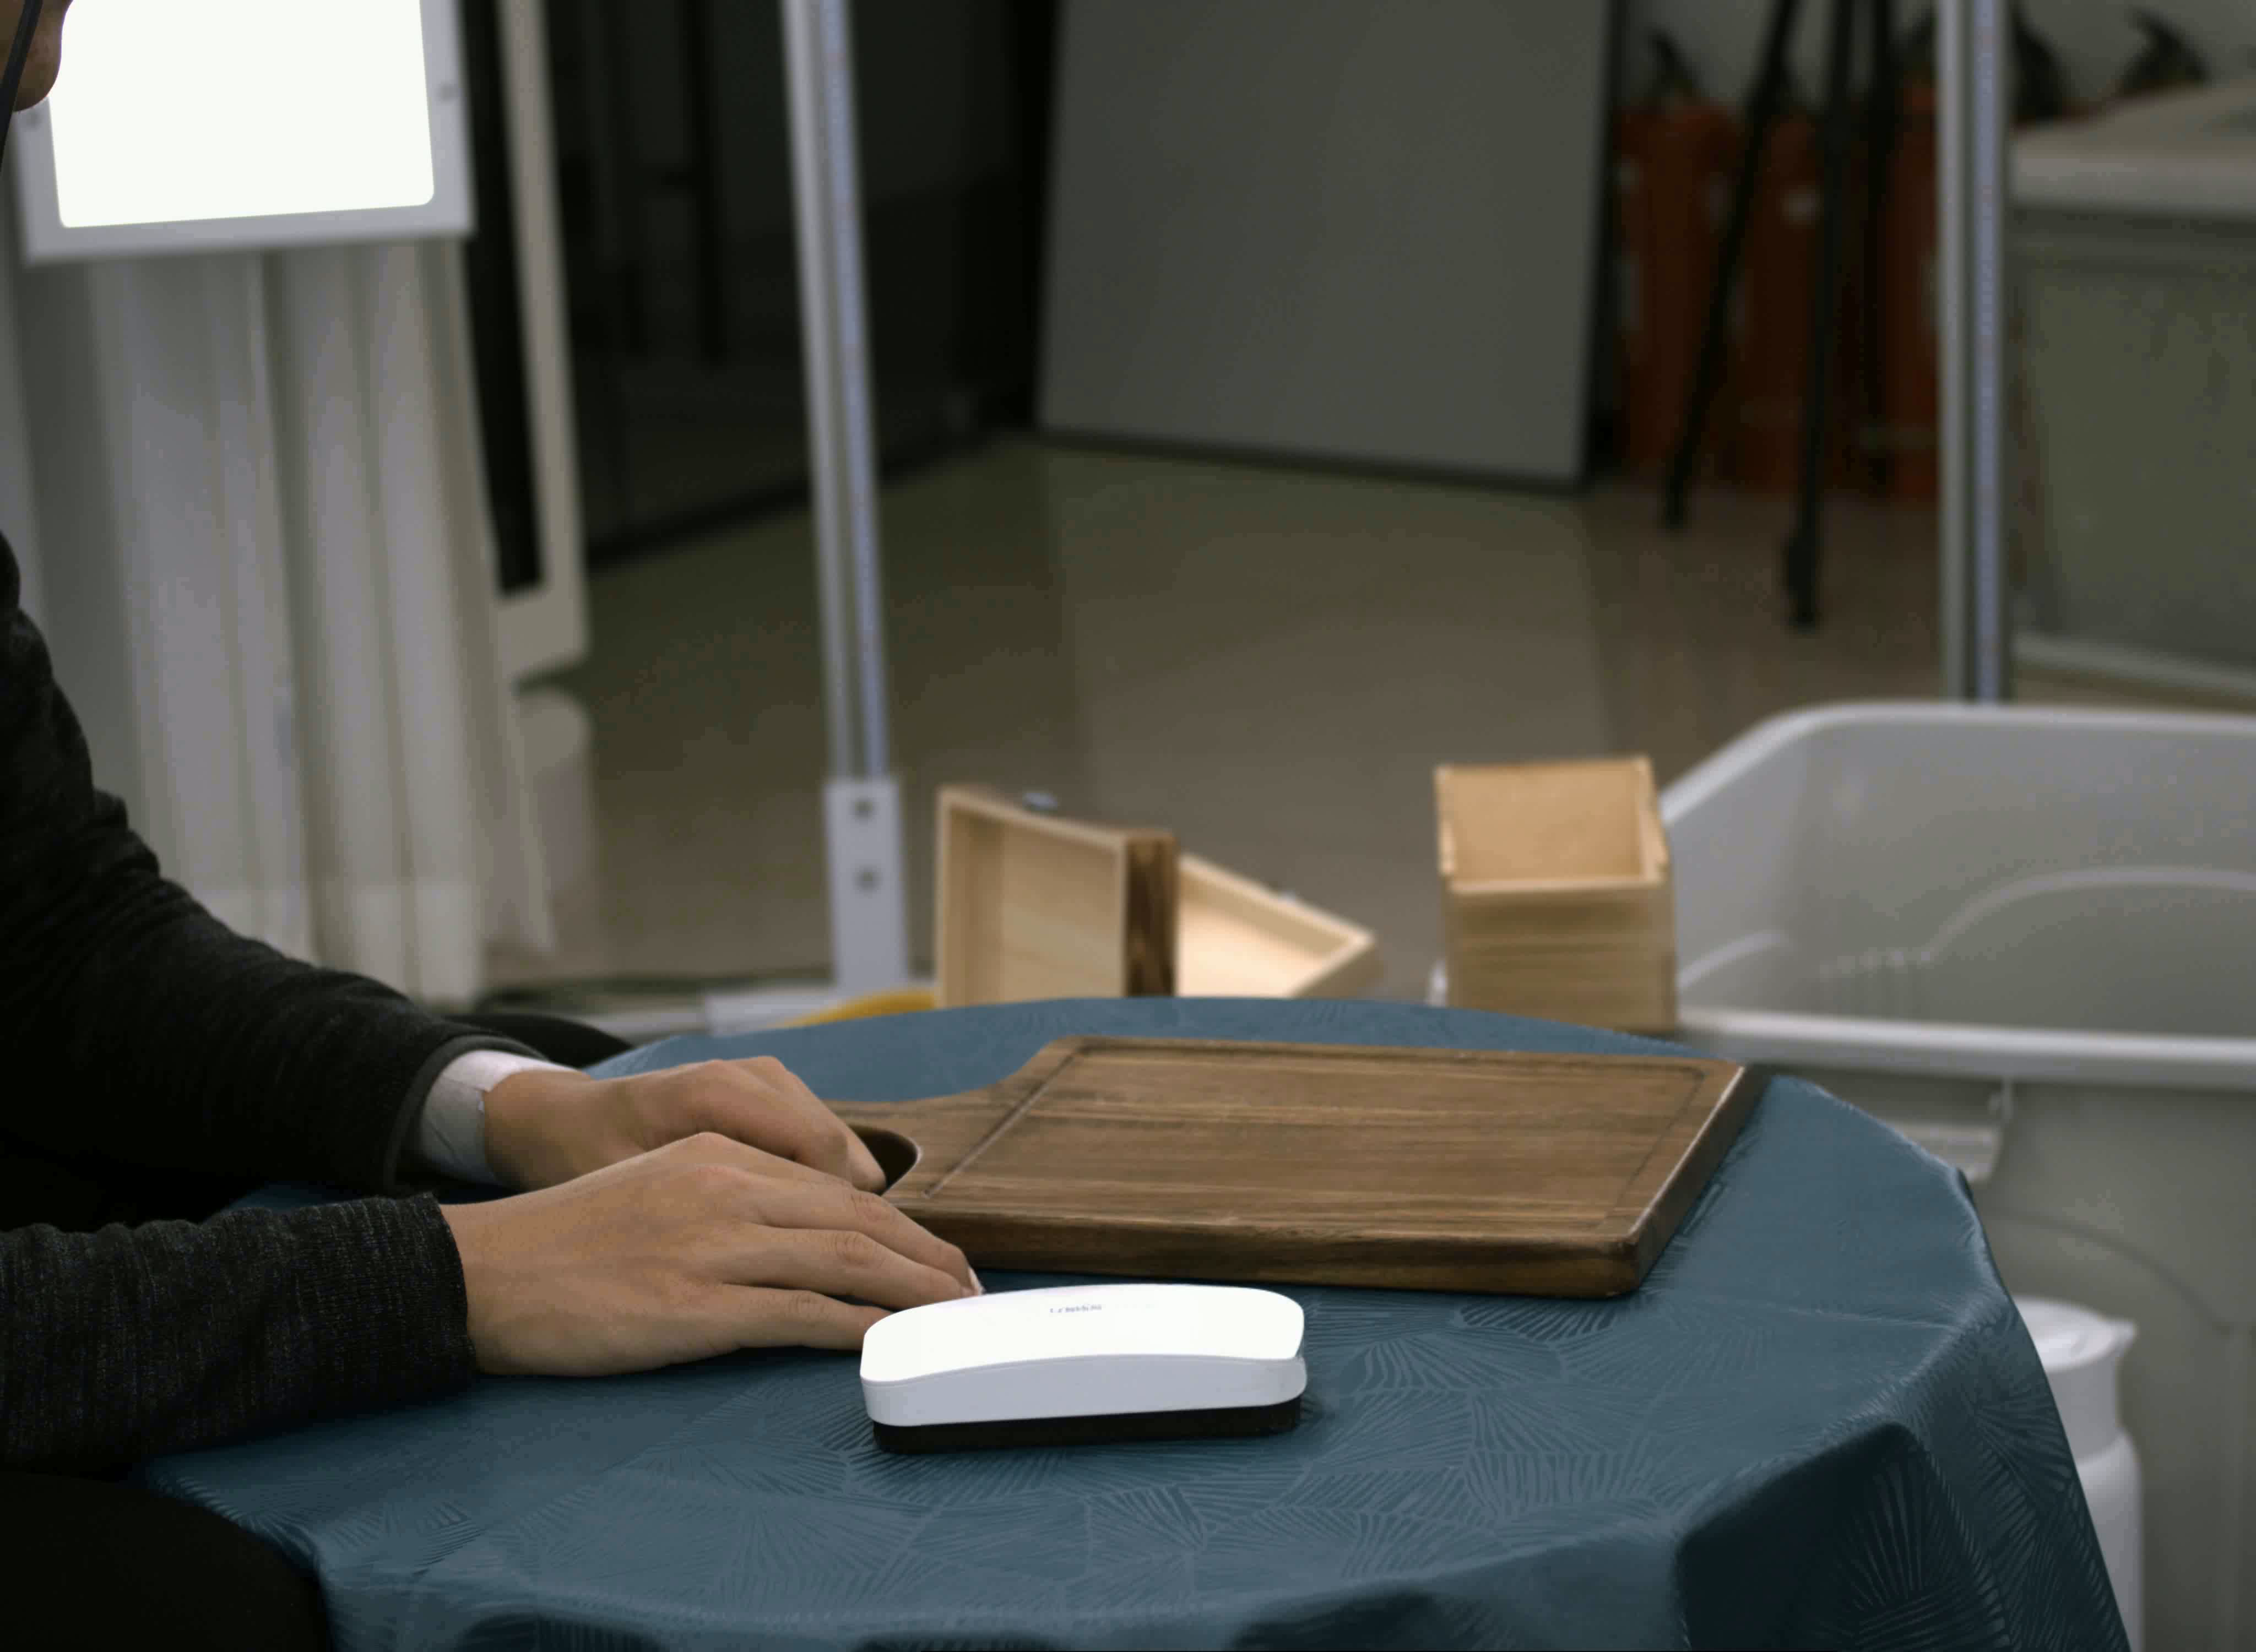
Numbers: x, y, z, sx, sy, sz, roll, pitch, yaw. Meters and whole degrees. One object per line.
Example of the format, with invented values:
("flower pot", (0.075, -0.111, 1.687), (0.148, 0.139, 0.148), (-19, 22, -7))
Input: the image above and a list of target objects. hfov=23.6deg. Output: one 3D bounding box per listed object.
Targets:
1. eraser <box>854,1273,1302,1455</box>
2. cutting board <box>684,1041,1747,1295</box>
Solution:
("eraser", (-0.014, 0.156, 1.566), (0.130, 0.035, 0.063), (-2, 15, 3))
("cutting board", (0.018, 0.108, 1.774), (0.351, 0.023, 0.199), (0, 14, 19))
